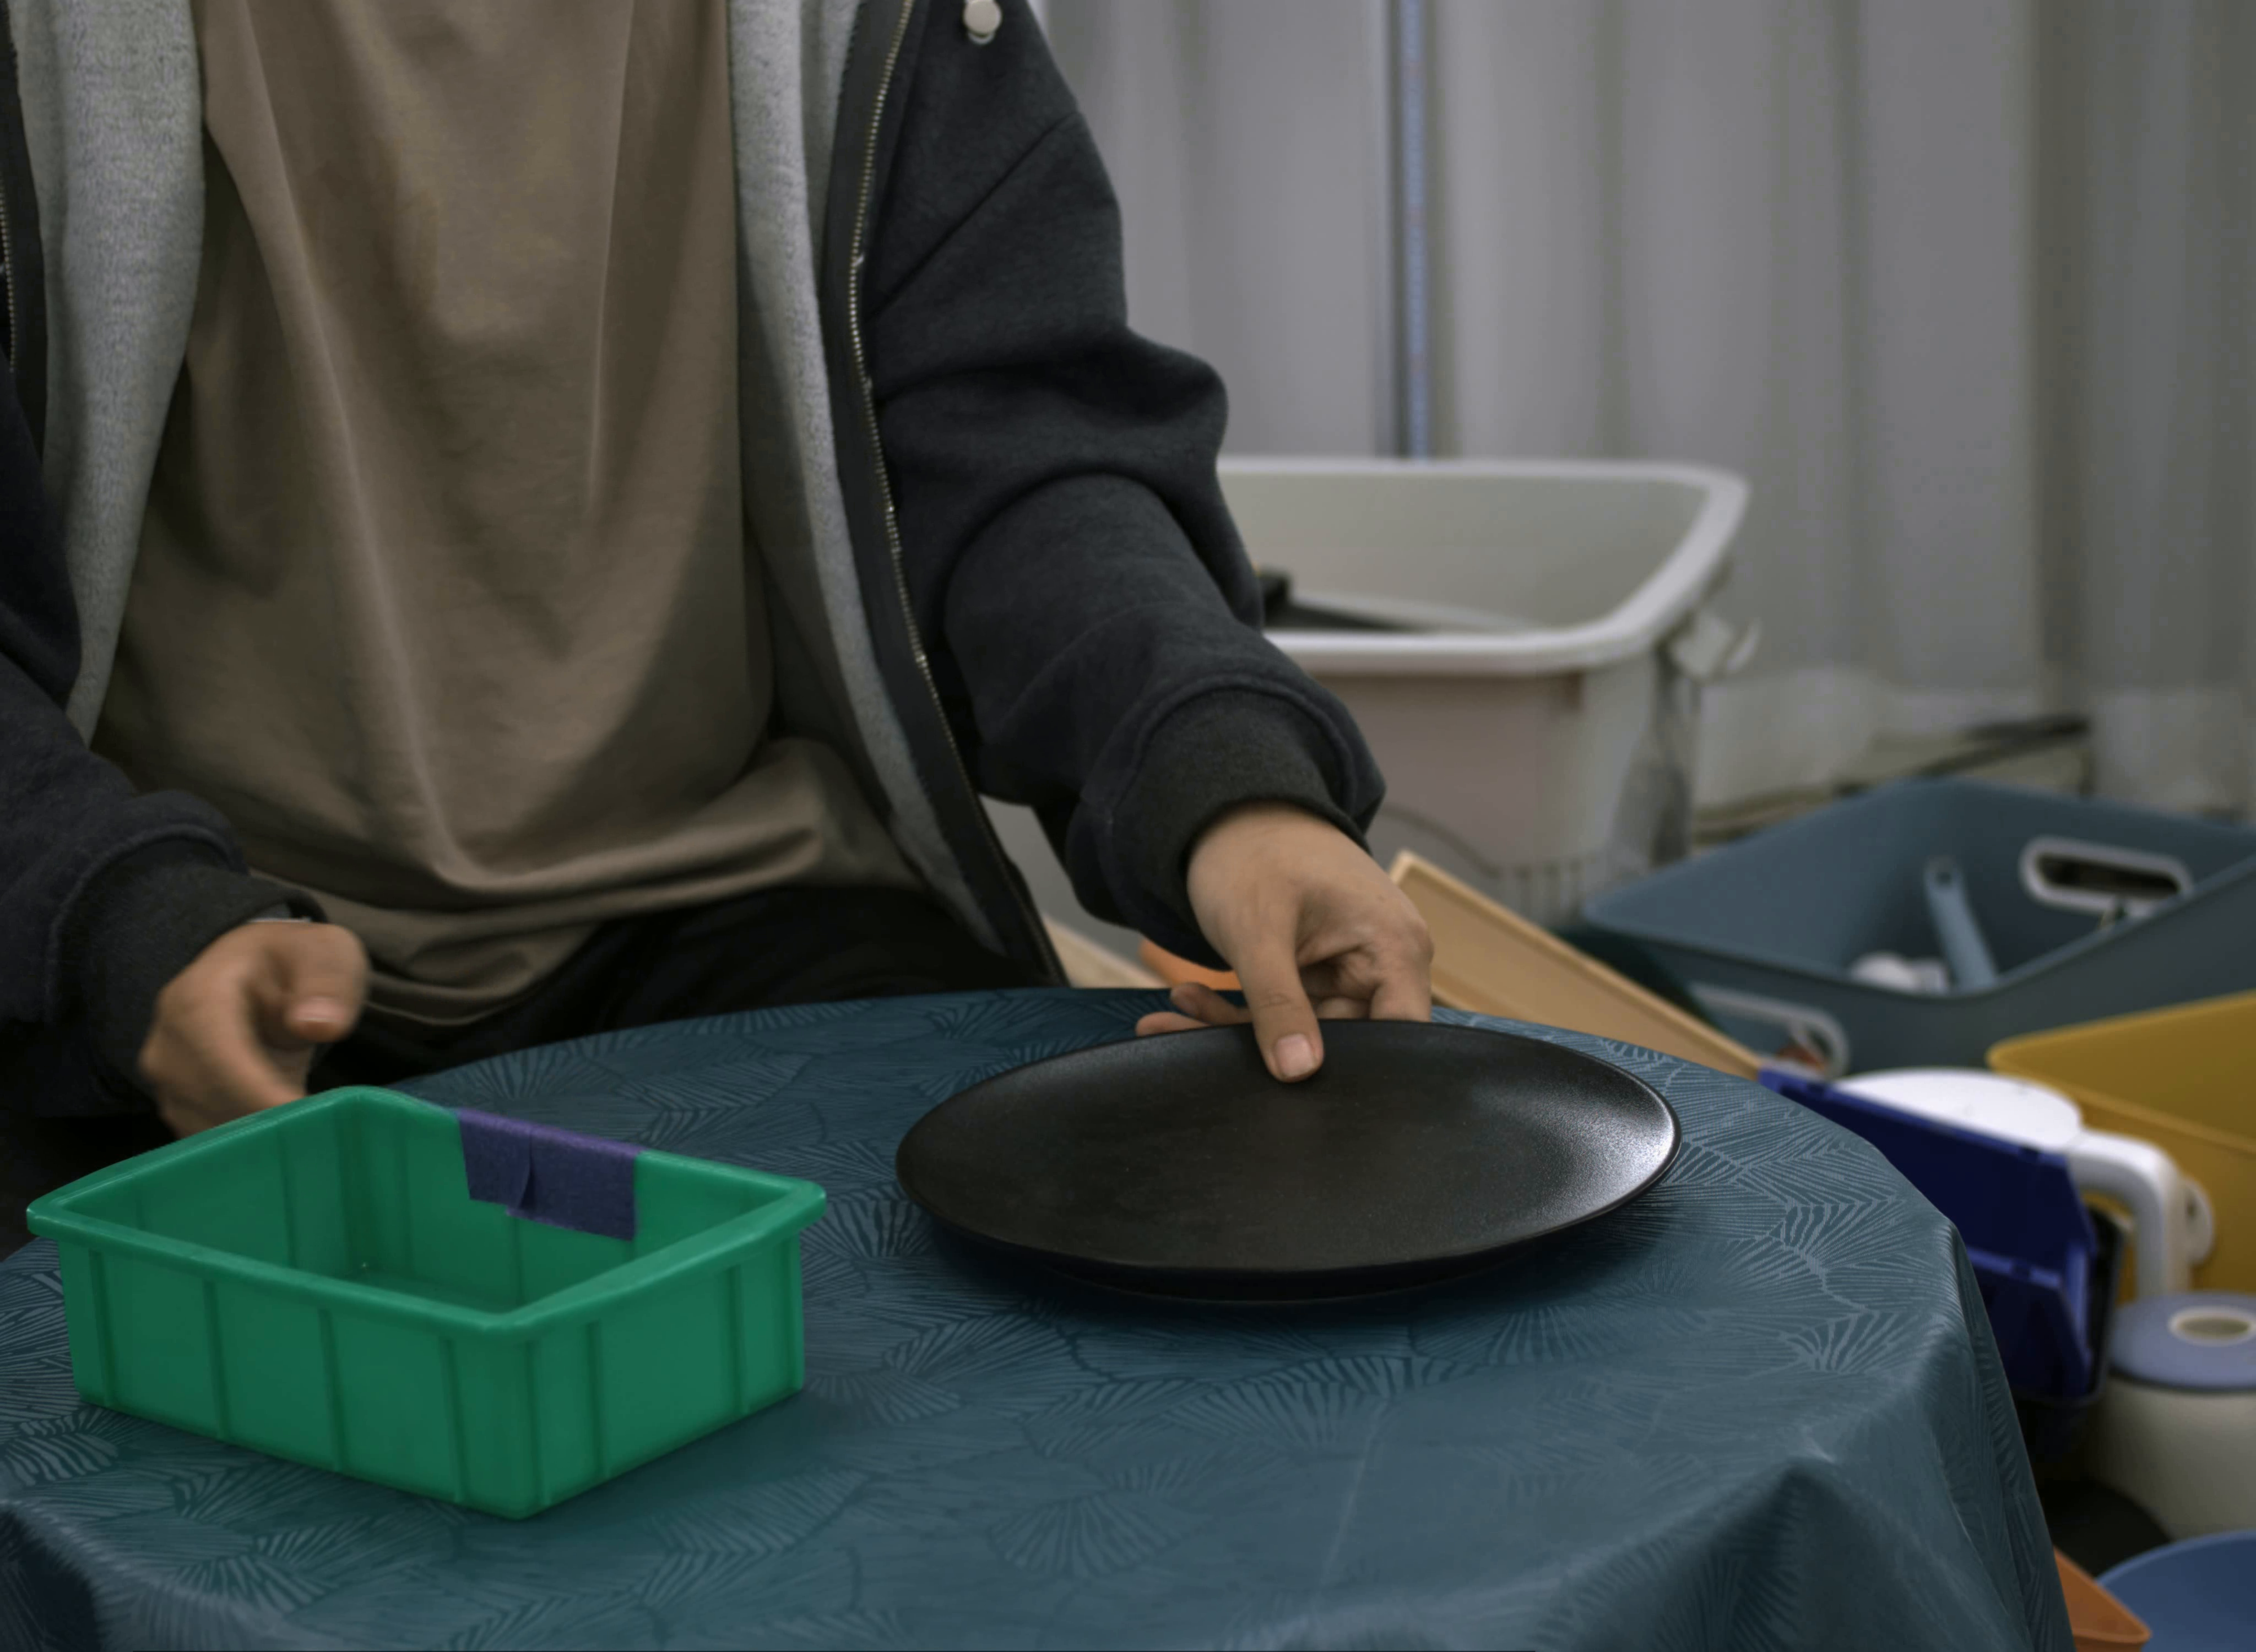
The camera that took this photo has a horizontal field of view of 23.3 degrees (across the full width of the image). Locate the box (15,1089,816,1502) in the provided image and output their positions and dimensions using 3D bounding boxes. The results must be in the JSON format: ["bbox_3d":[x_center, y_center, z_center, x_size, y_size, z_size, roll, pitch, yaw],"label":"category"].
[{"bbox_3d":[-0.202,0.133,1.564,0.211,0.065,0.138,6,15,37],"label":"box"}]

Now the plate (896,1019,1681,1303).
[{"bbox_3d":[0.050,0.106,1.694,0.243,0.023,0.246,-3,15,1],"label":"plate"}]
